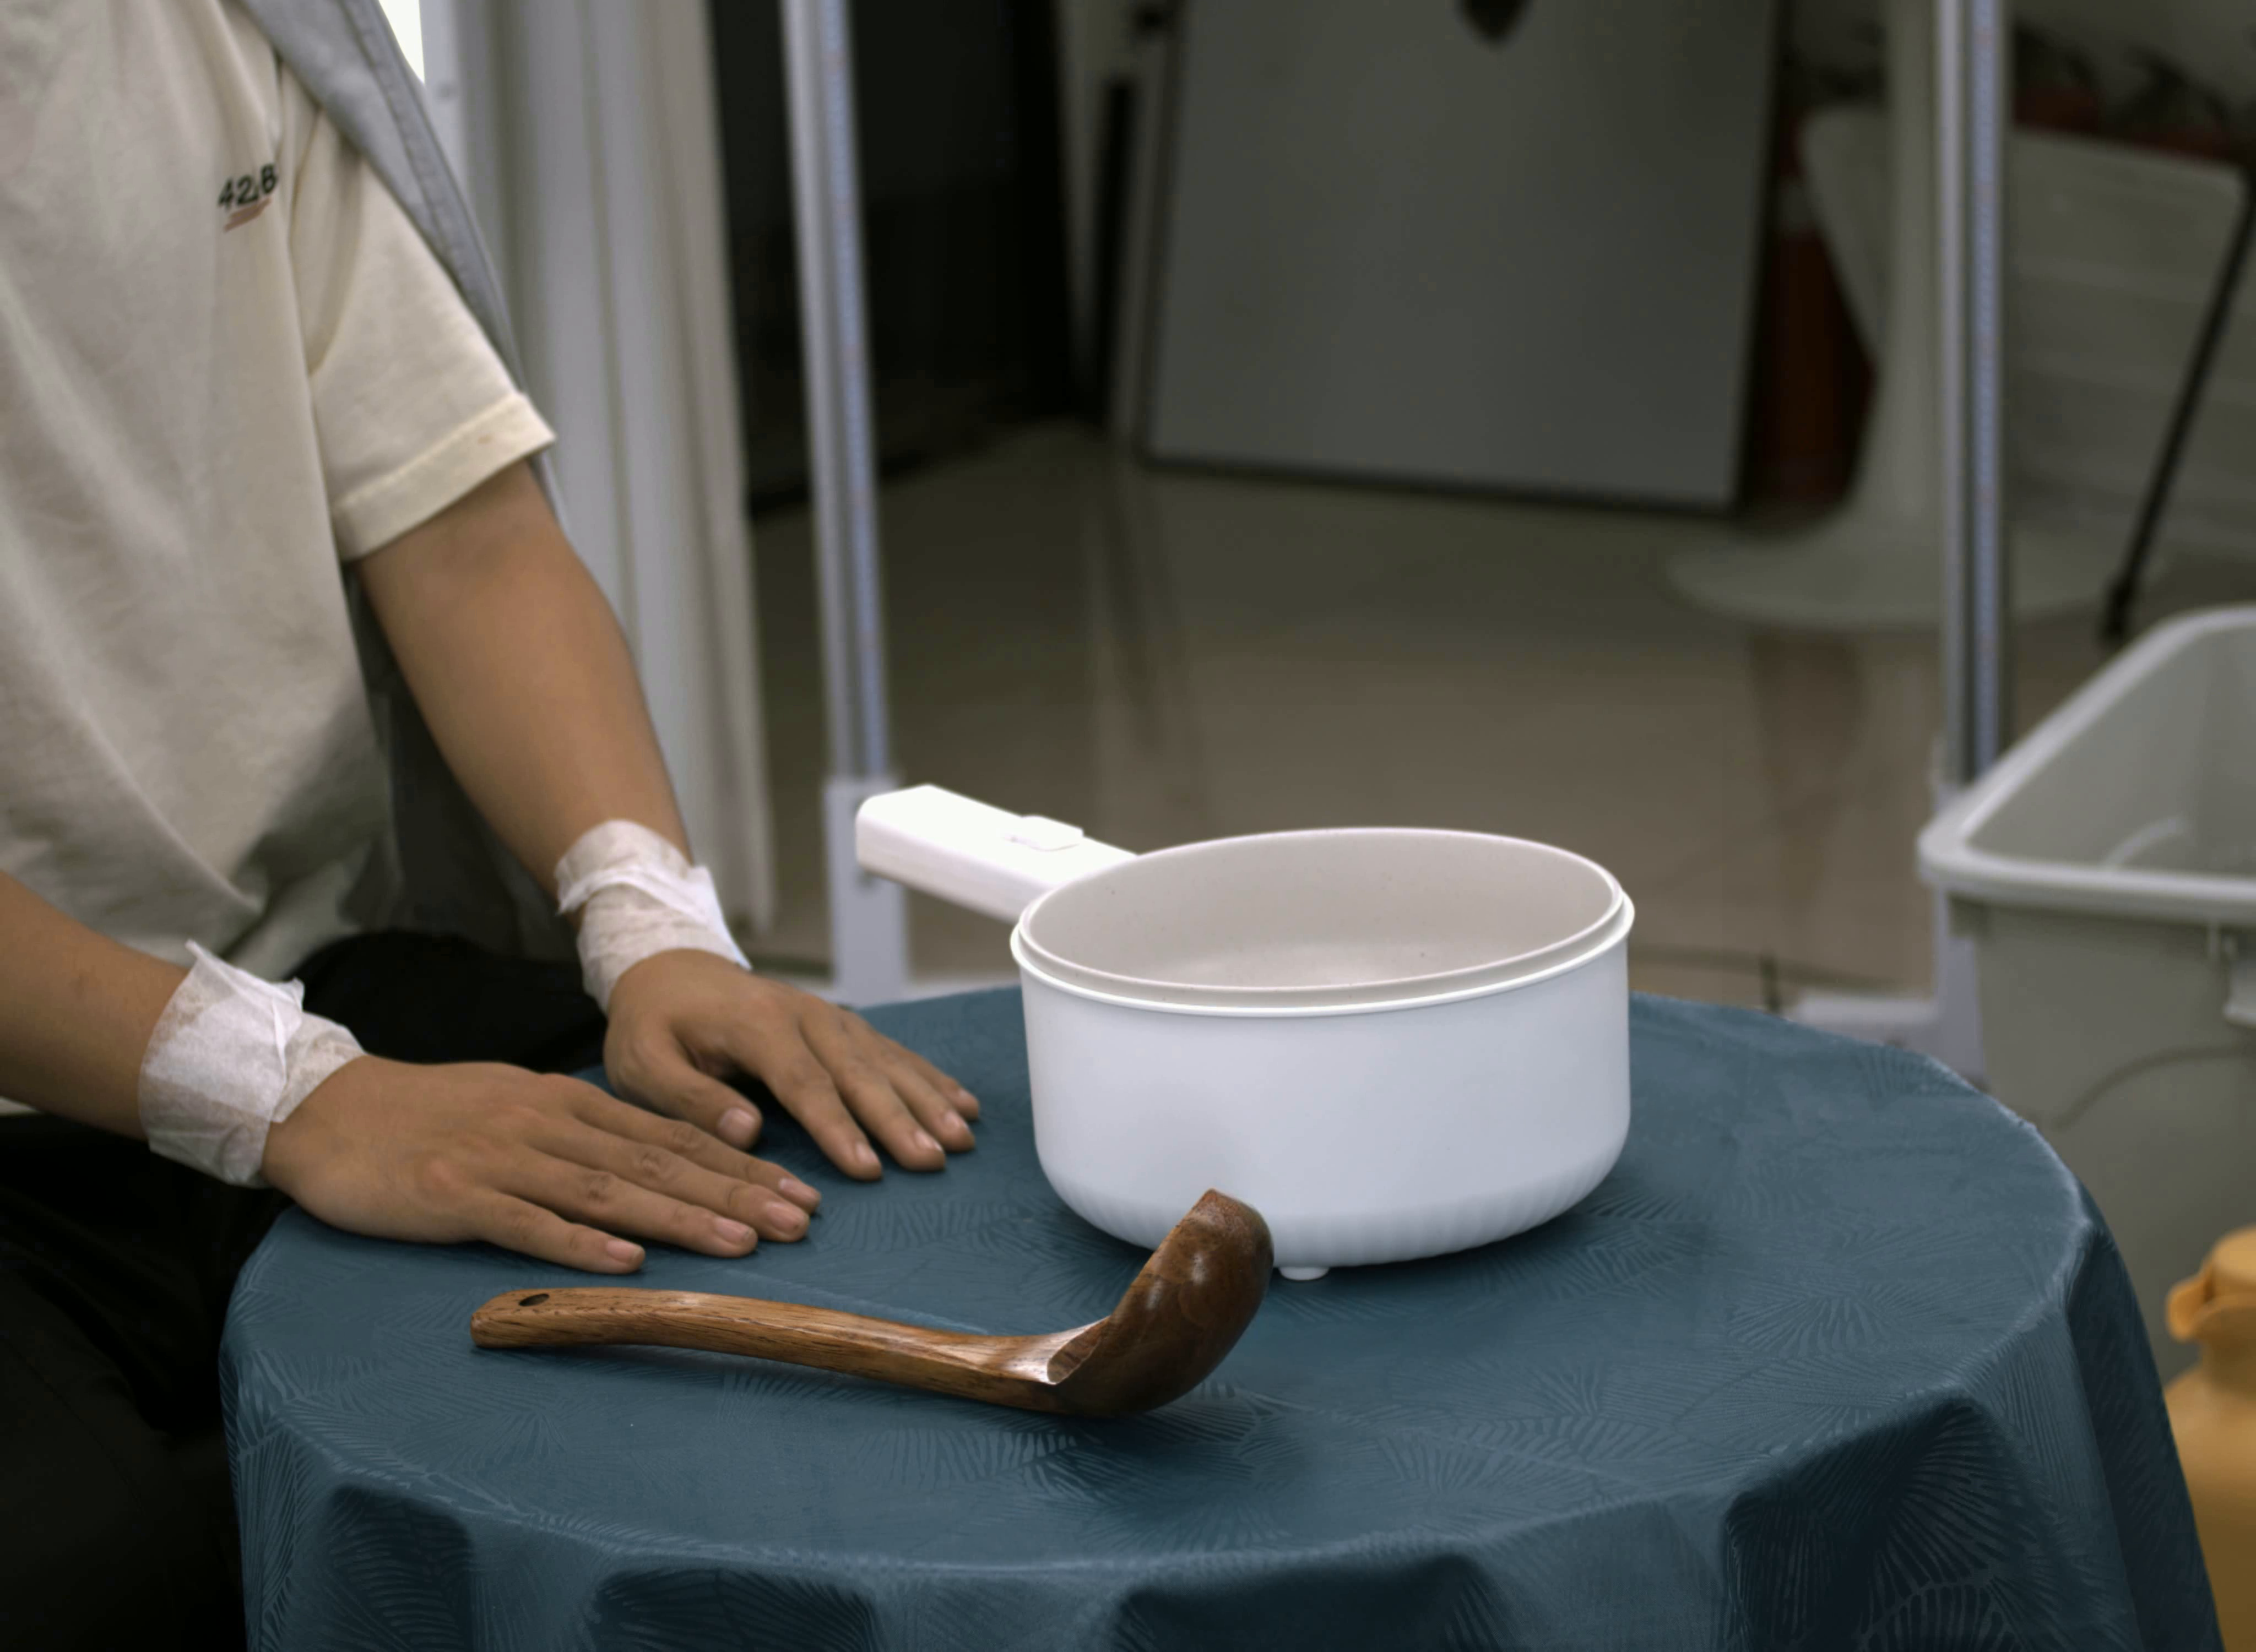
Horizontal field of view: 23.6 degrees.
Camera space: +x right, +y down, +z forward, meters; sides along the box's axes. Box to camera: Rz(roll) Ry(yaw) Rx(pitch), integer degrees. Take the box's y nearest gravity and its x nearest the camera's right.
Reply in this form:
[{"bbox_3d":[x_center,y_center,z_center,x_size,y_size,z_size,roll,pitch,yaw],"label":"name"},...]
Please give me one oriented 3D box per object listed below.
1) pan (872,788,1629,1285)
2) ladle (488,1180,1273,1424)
[{"bbox_3d":[0.022,0.062,1.801,0.197,0.103,0.358,-13,16,-31],"label":"pan"},{"bbox_3d":[-0.081,0.130,1.598,0.275,0.077,0.080,6,17,31],"label":"ladle"}]
